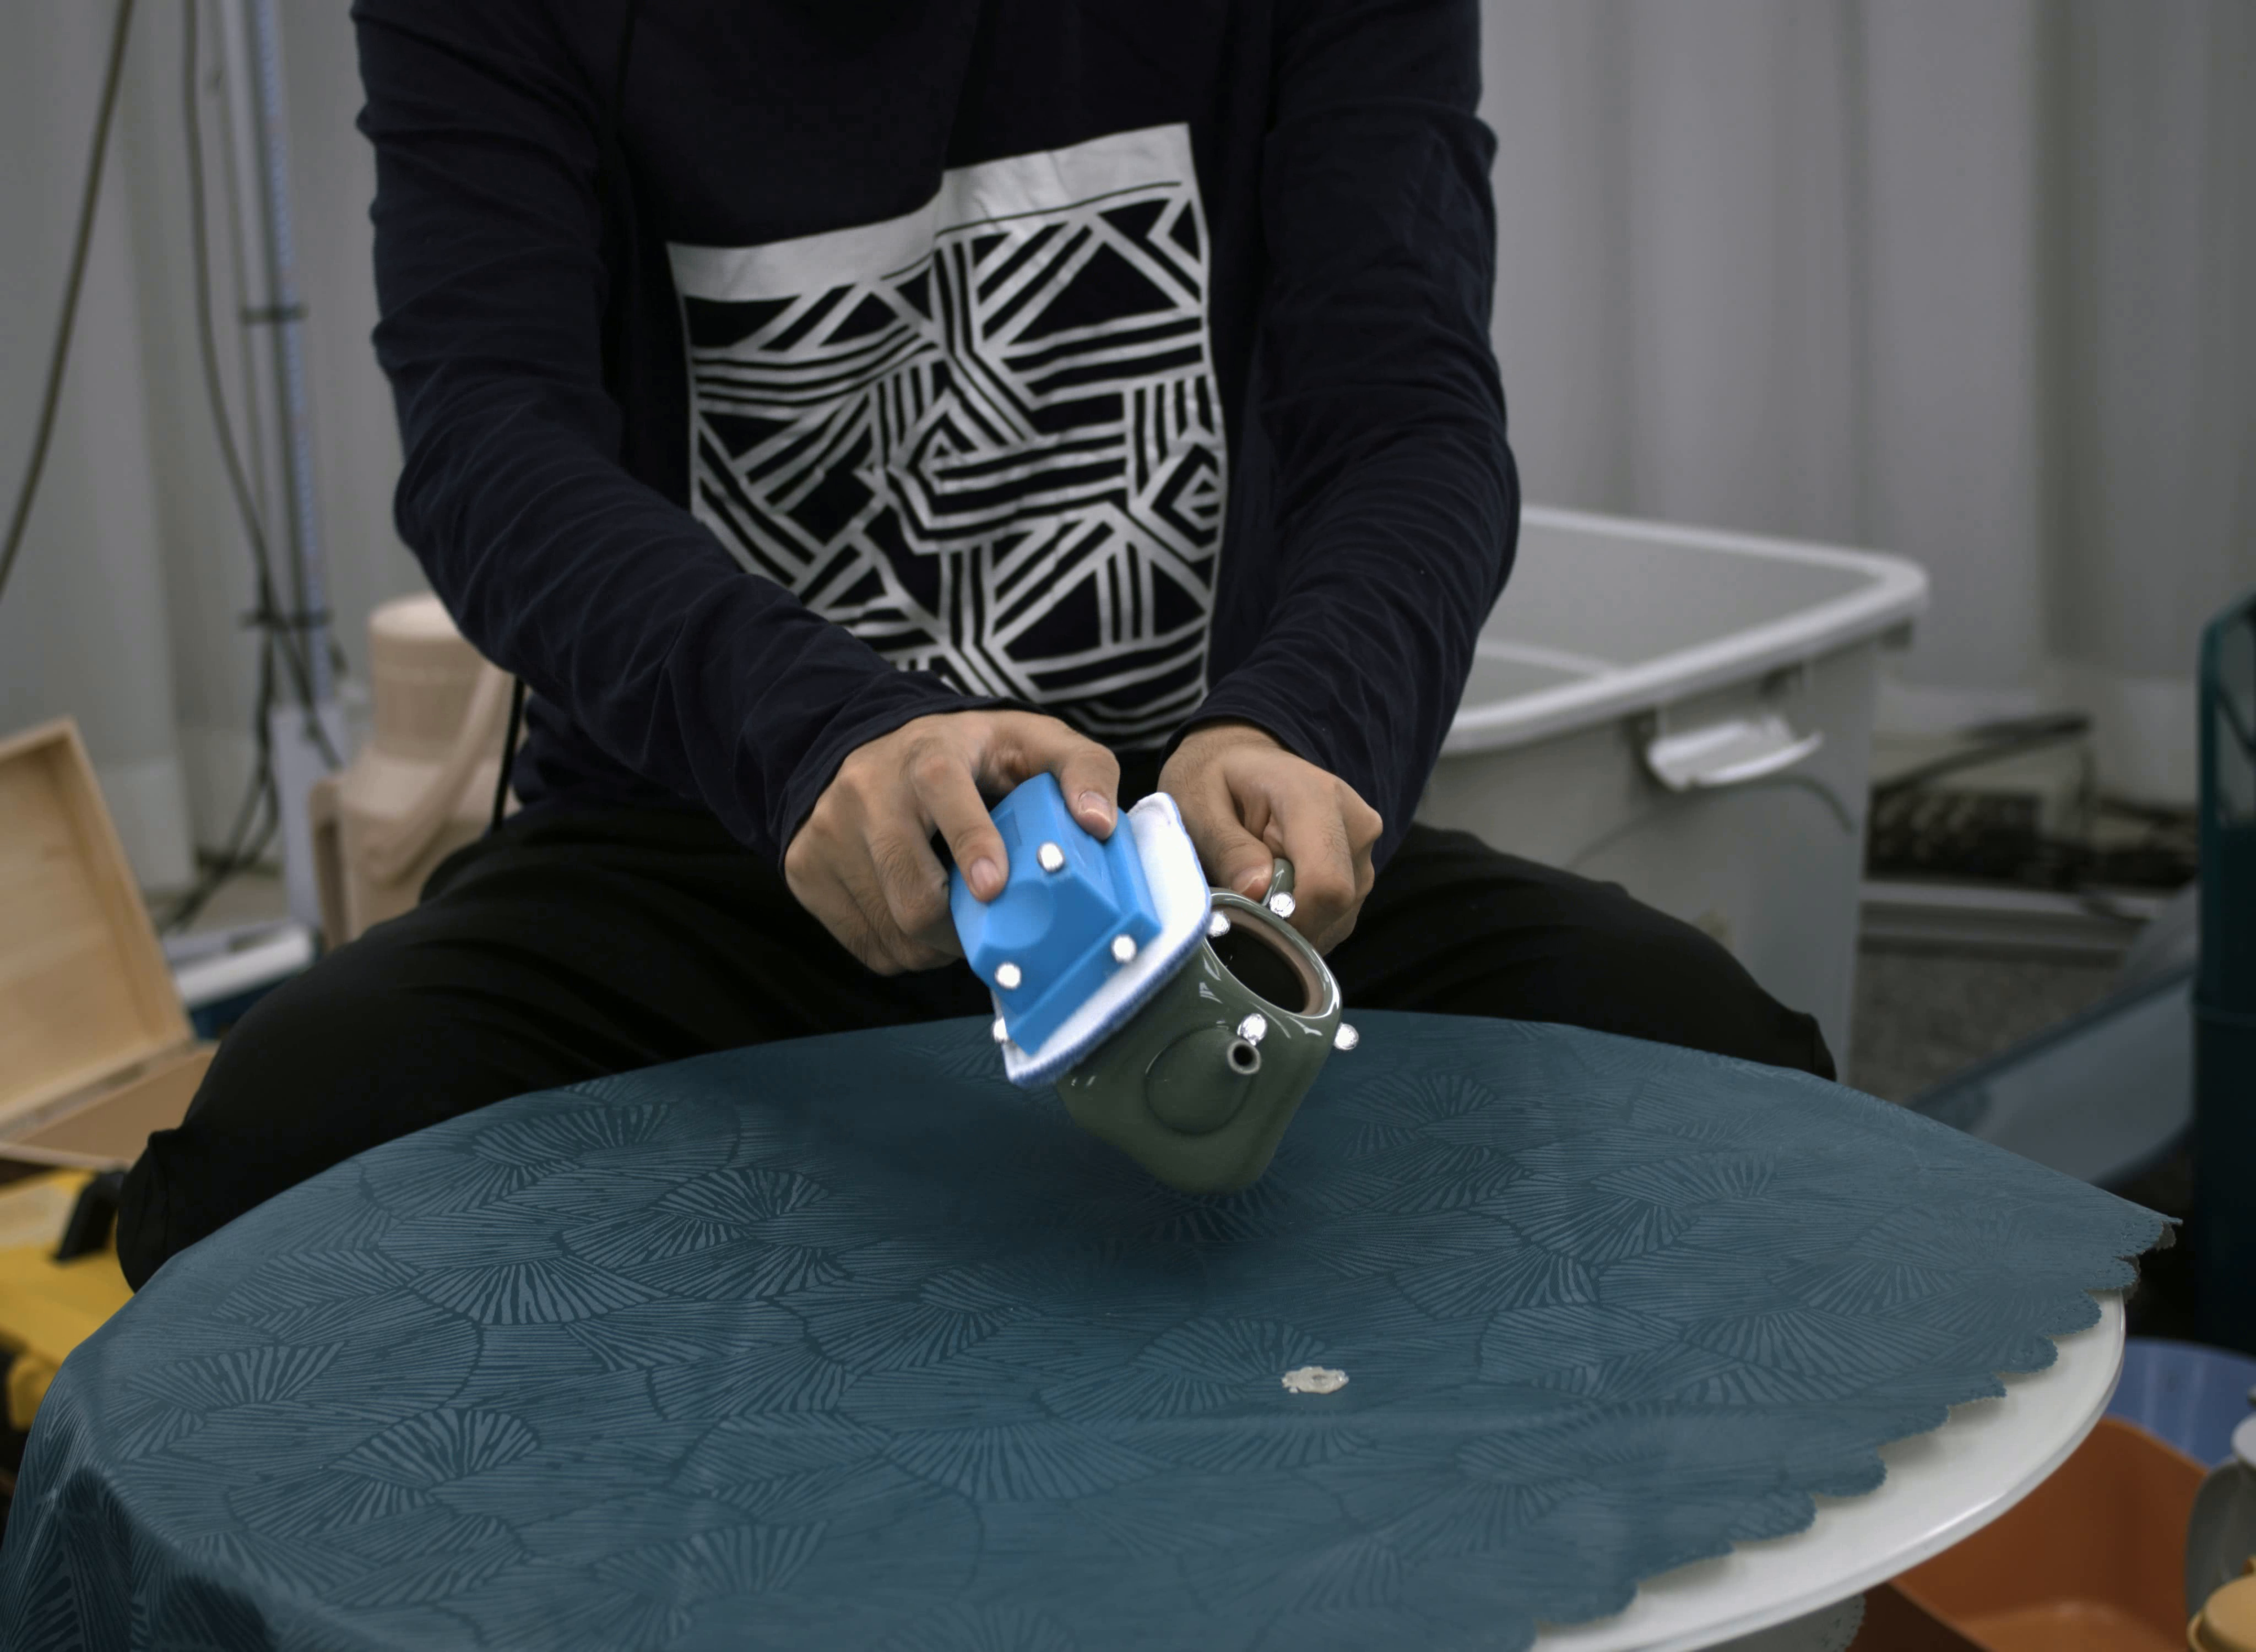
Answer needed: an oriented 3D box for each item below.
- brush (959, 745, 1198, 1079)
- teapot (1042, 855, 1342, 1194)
[{"bbox_3d":[-0.023,0.021,1.656,0.083,0.055,0.145,-42,16,11],"label":"brush"},{"bbox_3d":[0.022,0.061,1.655,0.079,0.075,0.134,35,26,-9],"label":"teapot"}]
